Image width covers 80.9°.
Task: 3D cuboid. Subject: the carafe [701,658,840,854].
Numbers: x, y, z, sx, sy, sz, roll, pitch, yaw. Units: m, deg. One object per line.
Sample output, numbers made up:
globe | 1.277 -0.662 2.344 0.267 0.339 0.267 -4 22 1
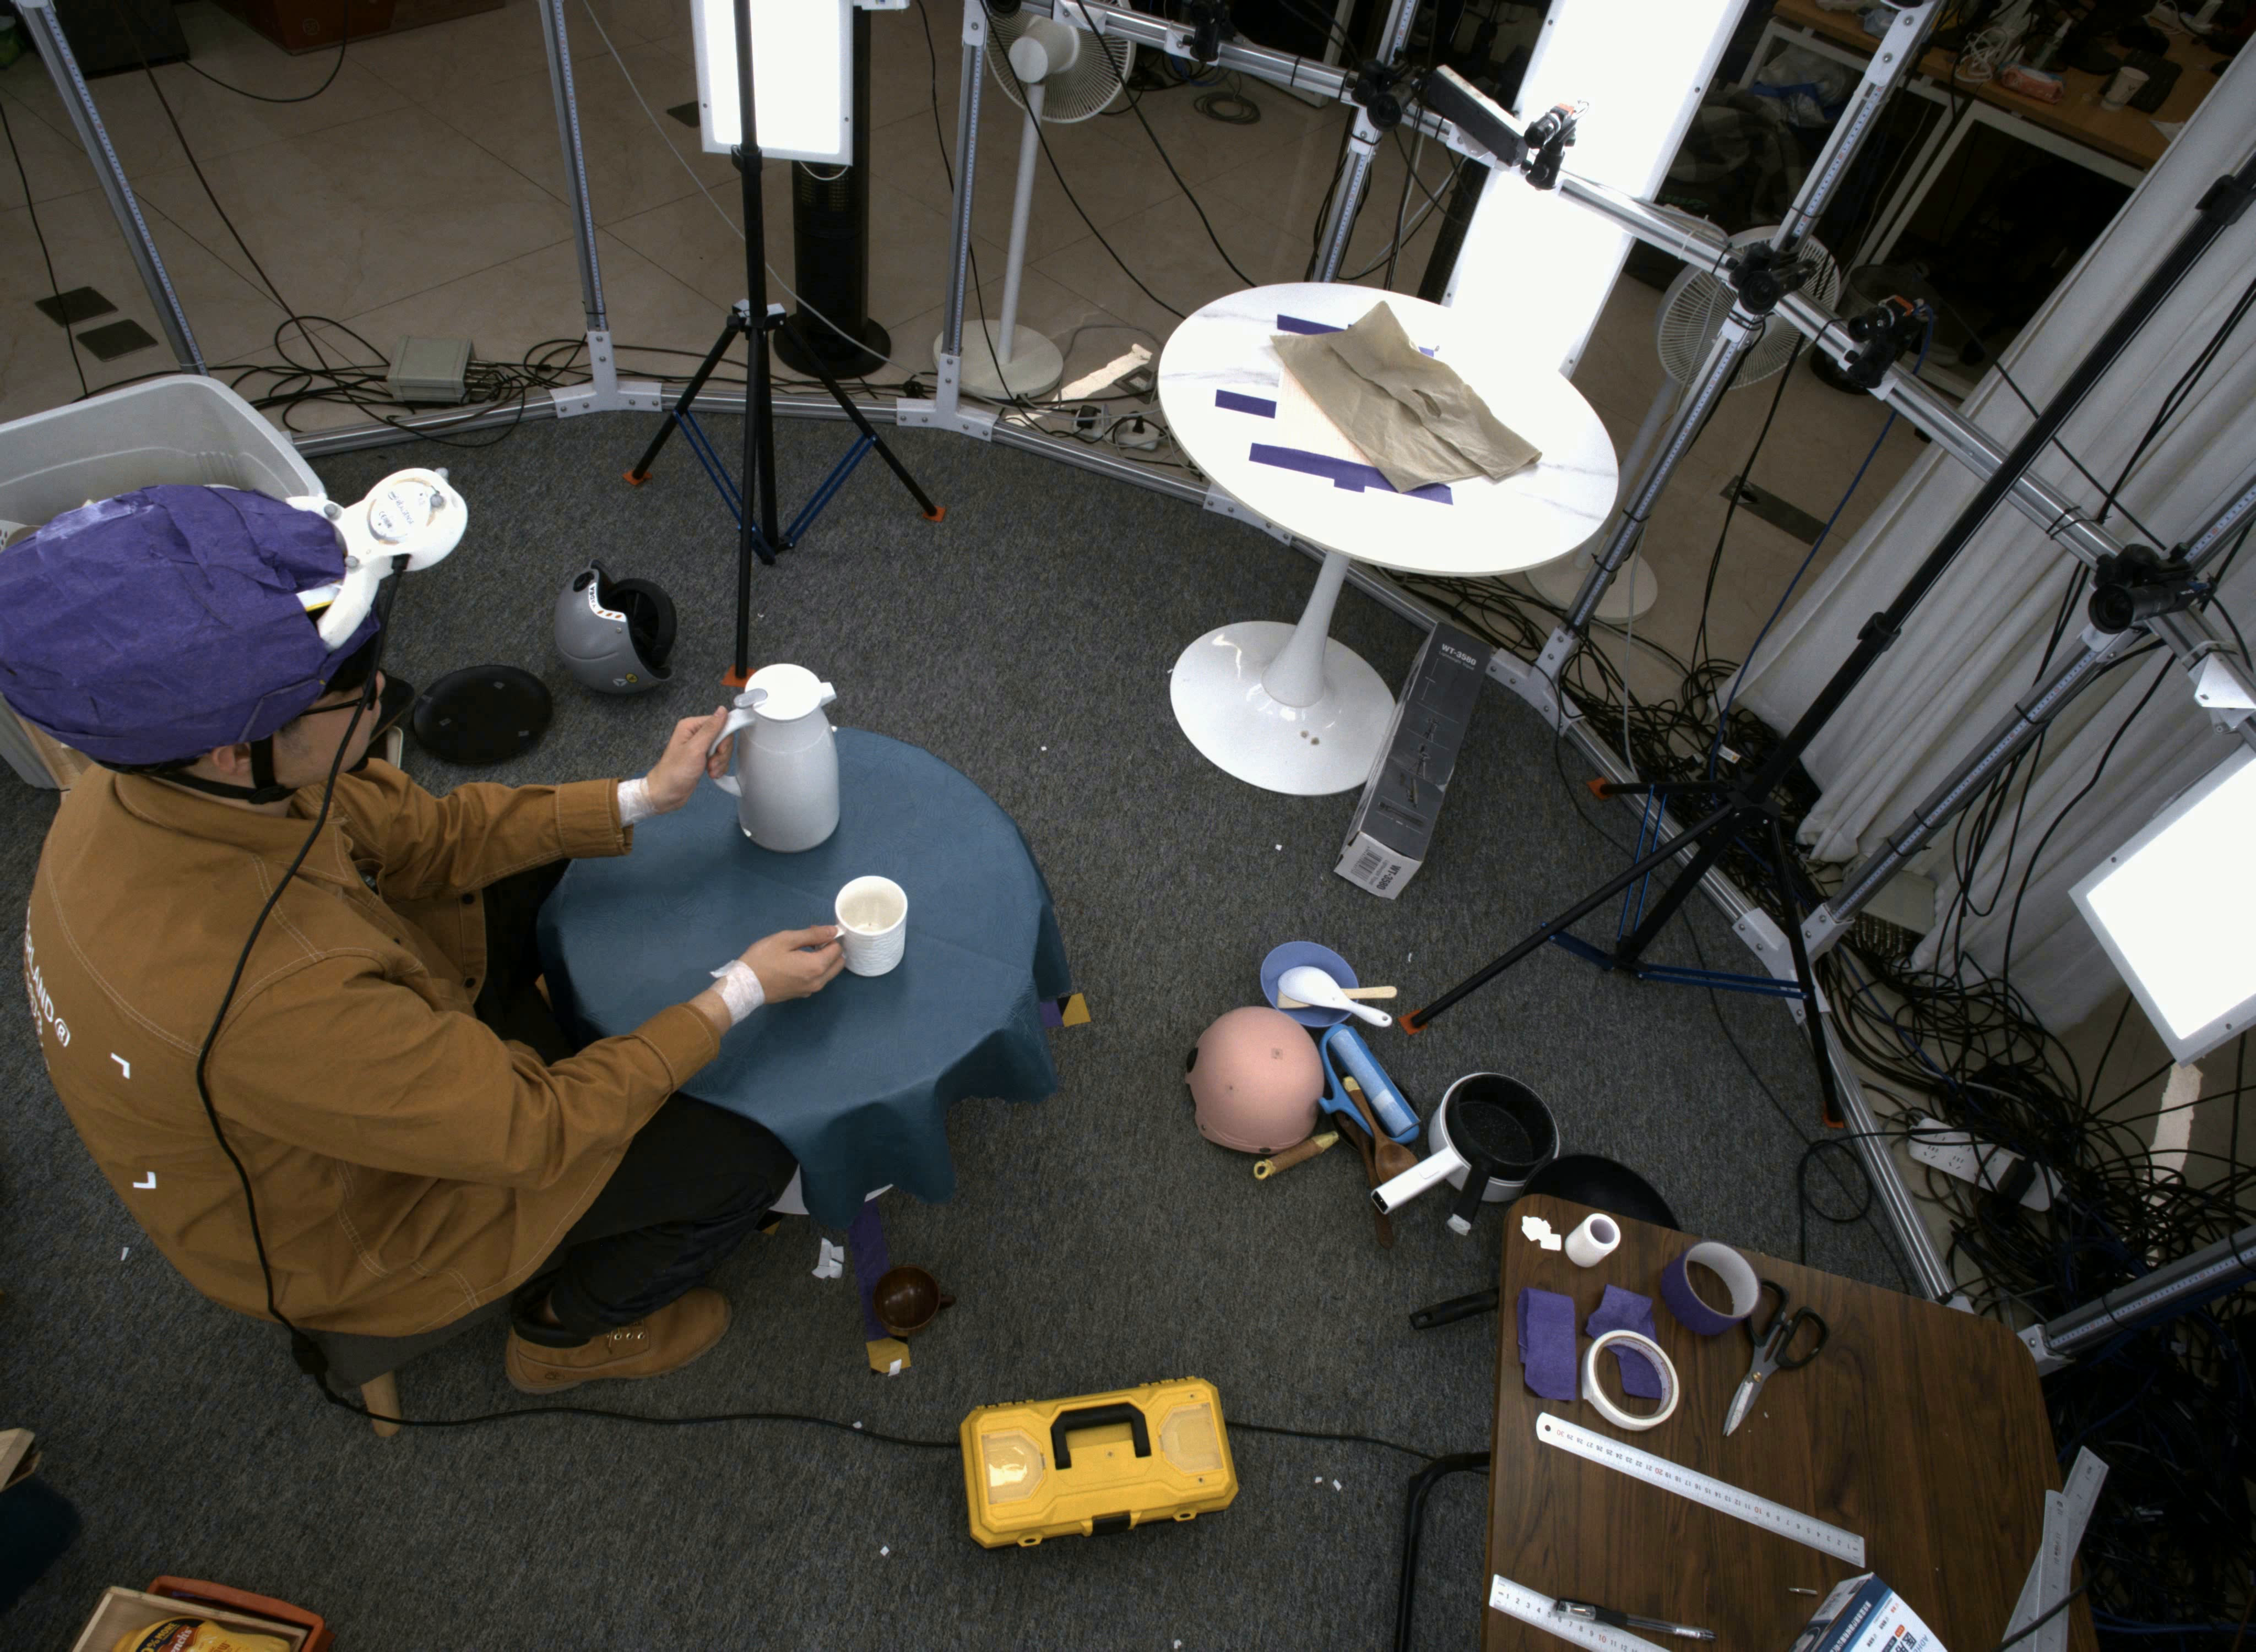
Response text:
carafe | -0.448 -0.088 1.620 0.168 0.254 0.129 -19 59 -24

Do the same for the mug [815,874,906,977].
mug | -0.327 0.129 1.584 0.118 0.104 0.083 -31 63 -30
